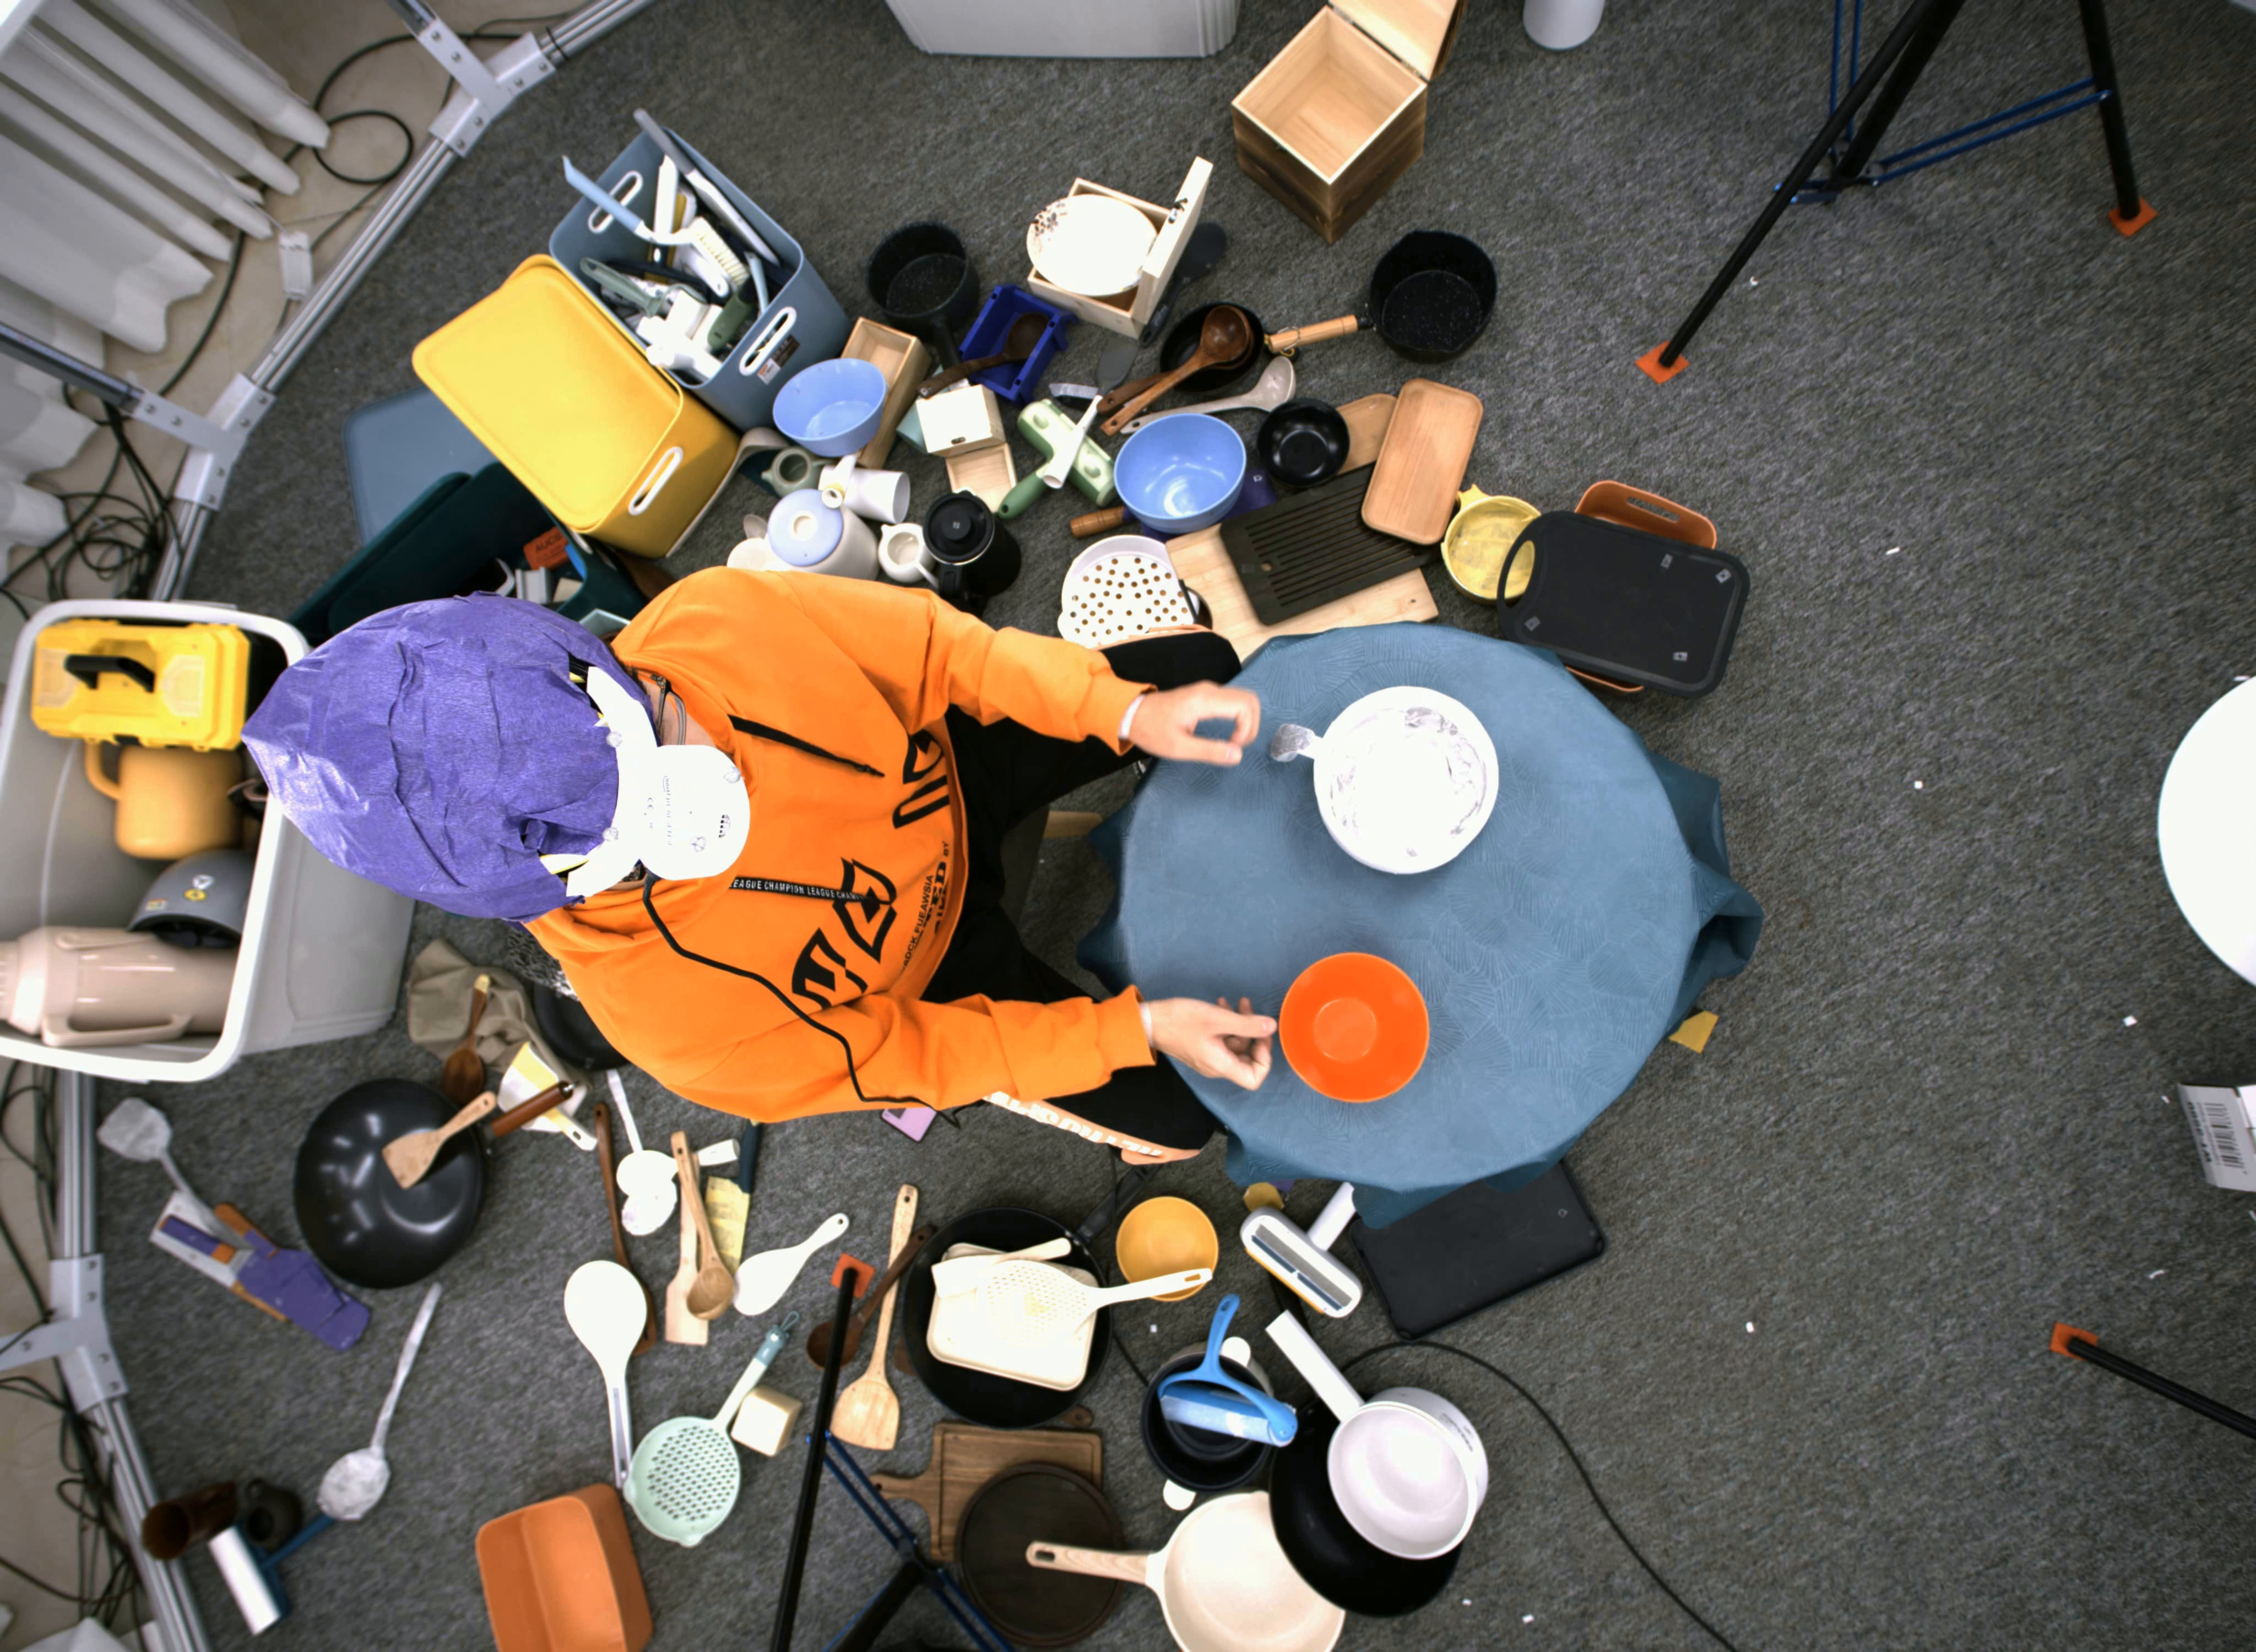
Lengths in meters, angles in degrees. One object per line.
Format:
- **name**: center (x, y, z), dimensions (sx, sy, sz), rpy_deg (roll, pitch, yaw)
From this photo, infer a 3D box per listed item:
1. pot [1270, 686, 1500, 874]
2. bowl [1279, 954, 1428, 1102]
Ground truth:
- **pot**: center (0.254, -0.052, 1.400), dimensions (0.234, 0.137, 0.178), rpy_deg (20, 89, 11)
- **bowl**: center (0.231, 0.203, 1.412), dimensions (0.148, 0.104, 0.147), rpy_deg (-1, 86, 12)
